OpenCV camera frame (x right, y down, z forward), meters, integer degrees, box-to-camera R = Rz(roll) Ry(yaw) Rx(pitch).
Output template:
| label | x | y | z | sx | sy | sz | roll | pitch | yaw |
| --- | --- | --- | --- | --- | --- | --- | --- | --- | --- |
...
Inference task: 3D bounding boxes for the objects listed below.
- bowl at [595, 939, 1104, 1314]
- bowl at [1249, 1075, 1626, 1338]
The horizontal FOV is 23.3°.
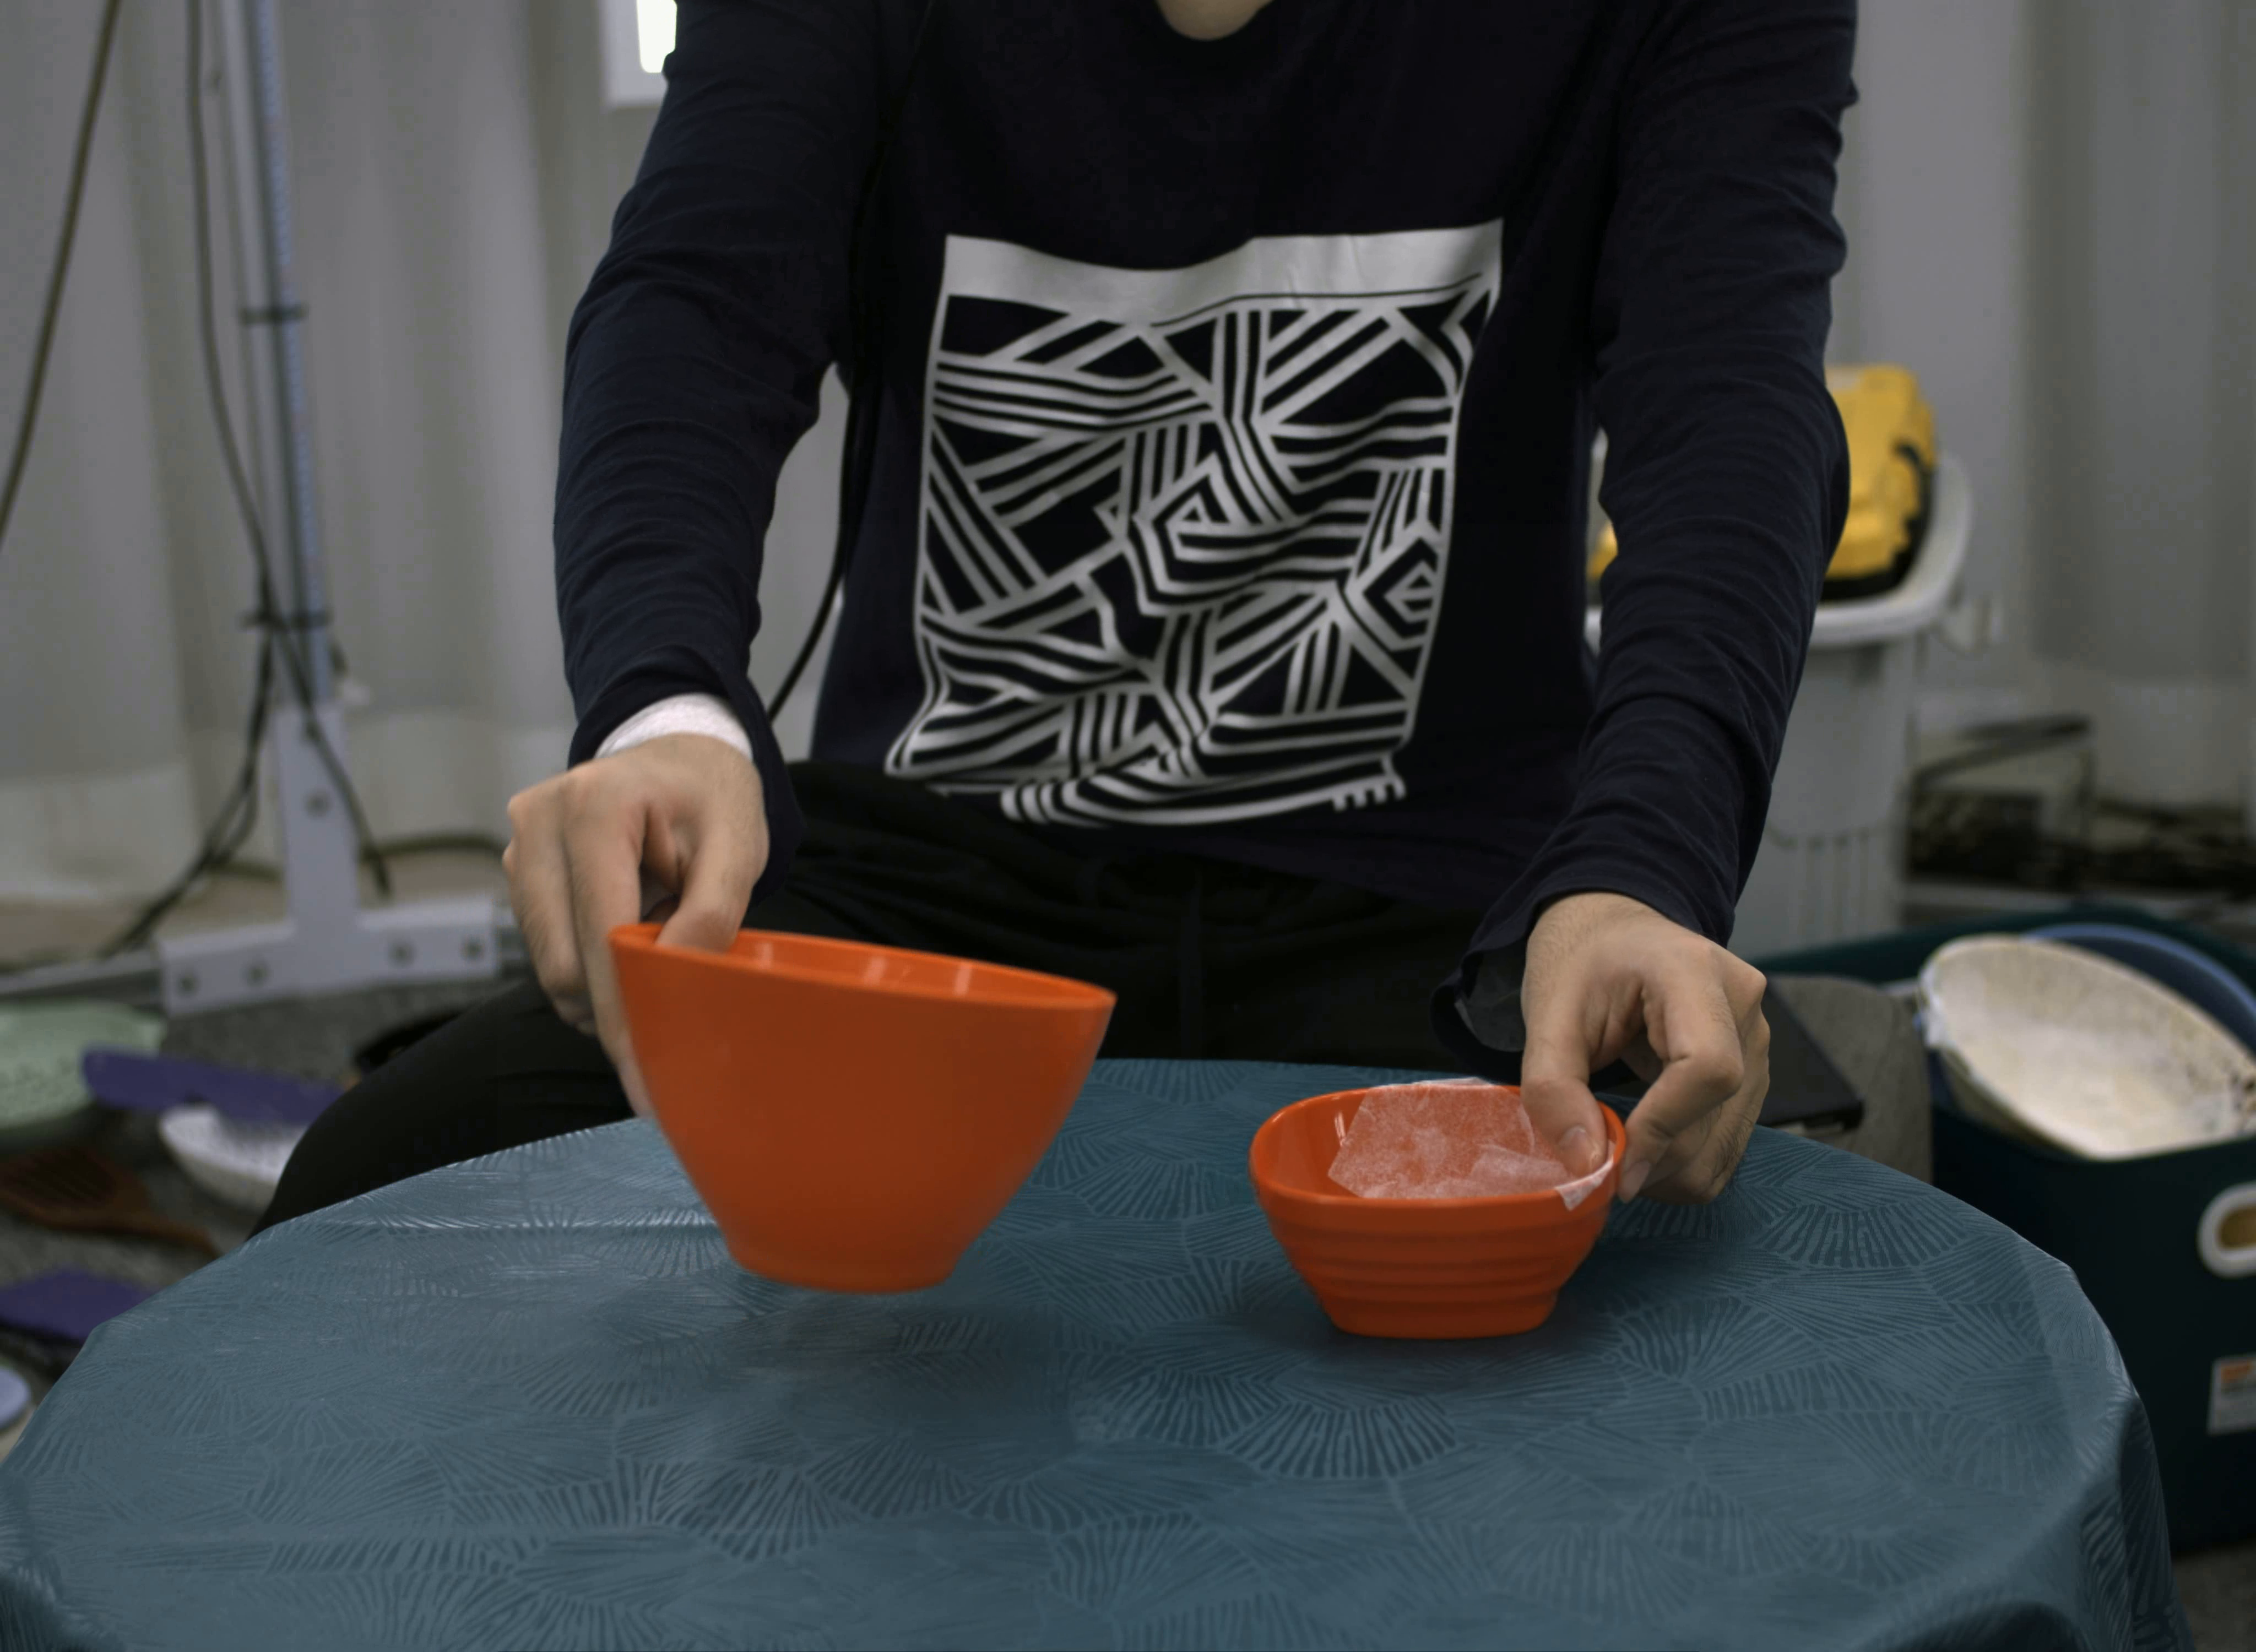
| label | x | y | z | sx | sy | sz | roll | pitch | yaw |
| --- | --- | --- | --- | --- | --- | --- | --- | --- | --- |
| bowl | -0.083 | 0.084 | 1.572 | 0.147 | 0.104 | 0.149 | 6 | 11 | -1 |
| bowl | 0.092 | 0.114 | 1.599 | 0.118 | 0.051 | 0.120 | -4 | 16 | 1 |
